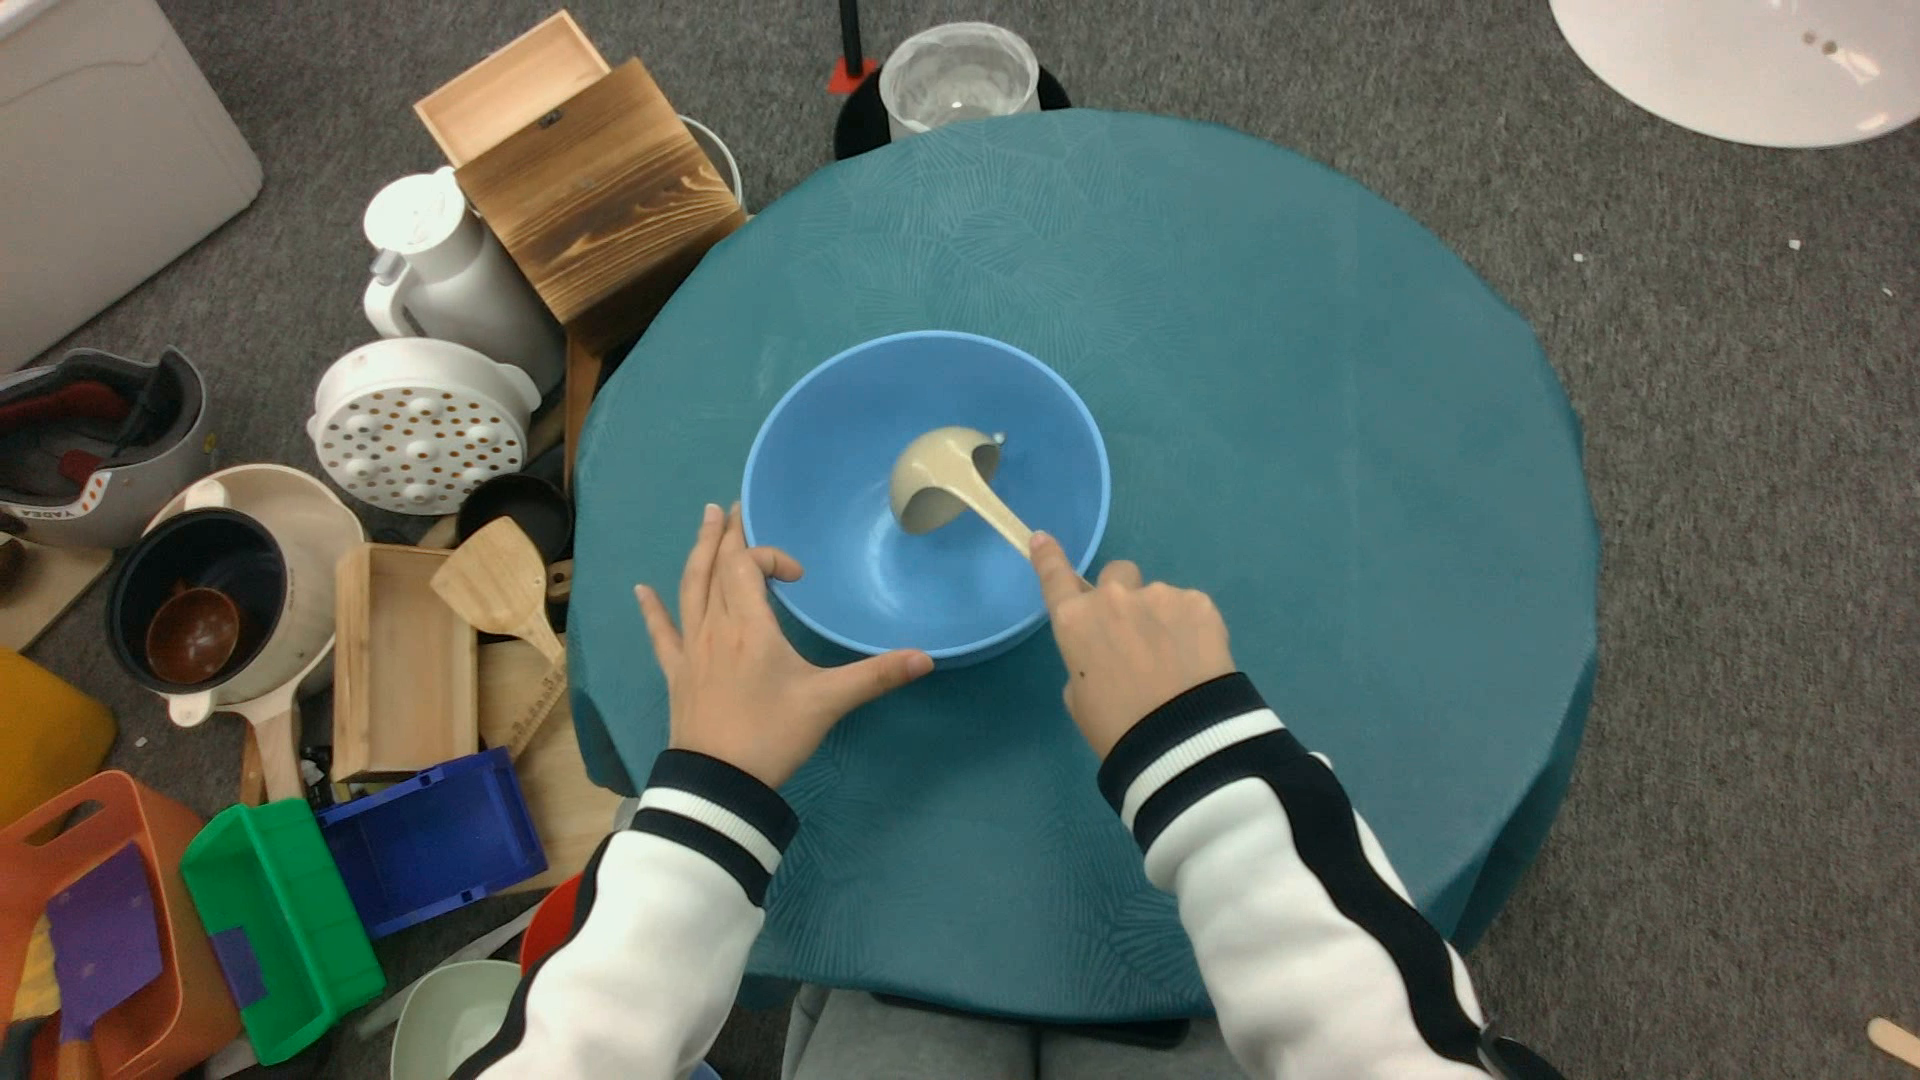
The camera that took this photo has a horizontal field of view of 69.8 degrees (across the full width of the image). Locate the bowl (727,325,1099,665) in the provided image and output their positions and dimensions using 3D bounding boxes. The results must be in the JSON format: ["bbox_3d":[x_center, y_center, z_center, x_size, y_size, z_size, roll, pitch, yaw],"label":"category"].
[{"bbox_3d":[-0.023,-0.012,0.767,0.196,0.095,0.197,-1,64,1],"label":"bowl"}]

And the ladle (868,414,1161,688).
[{"bbox_3d":[0.031,0.016,0.704,0.072,0.072,0.255,-33,46,-9],"label":"ladle"}]
